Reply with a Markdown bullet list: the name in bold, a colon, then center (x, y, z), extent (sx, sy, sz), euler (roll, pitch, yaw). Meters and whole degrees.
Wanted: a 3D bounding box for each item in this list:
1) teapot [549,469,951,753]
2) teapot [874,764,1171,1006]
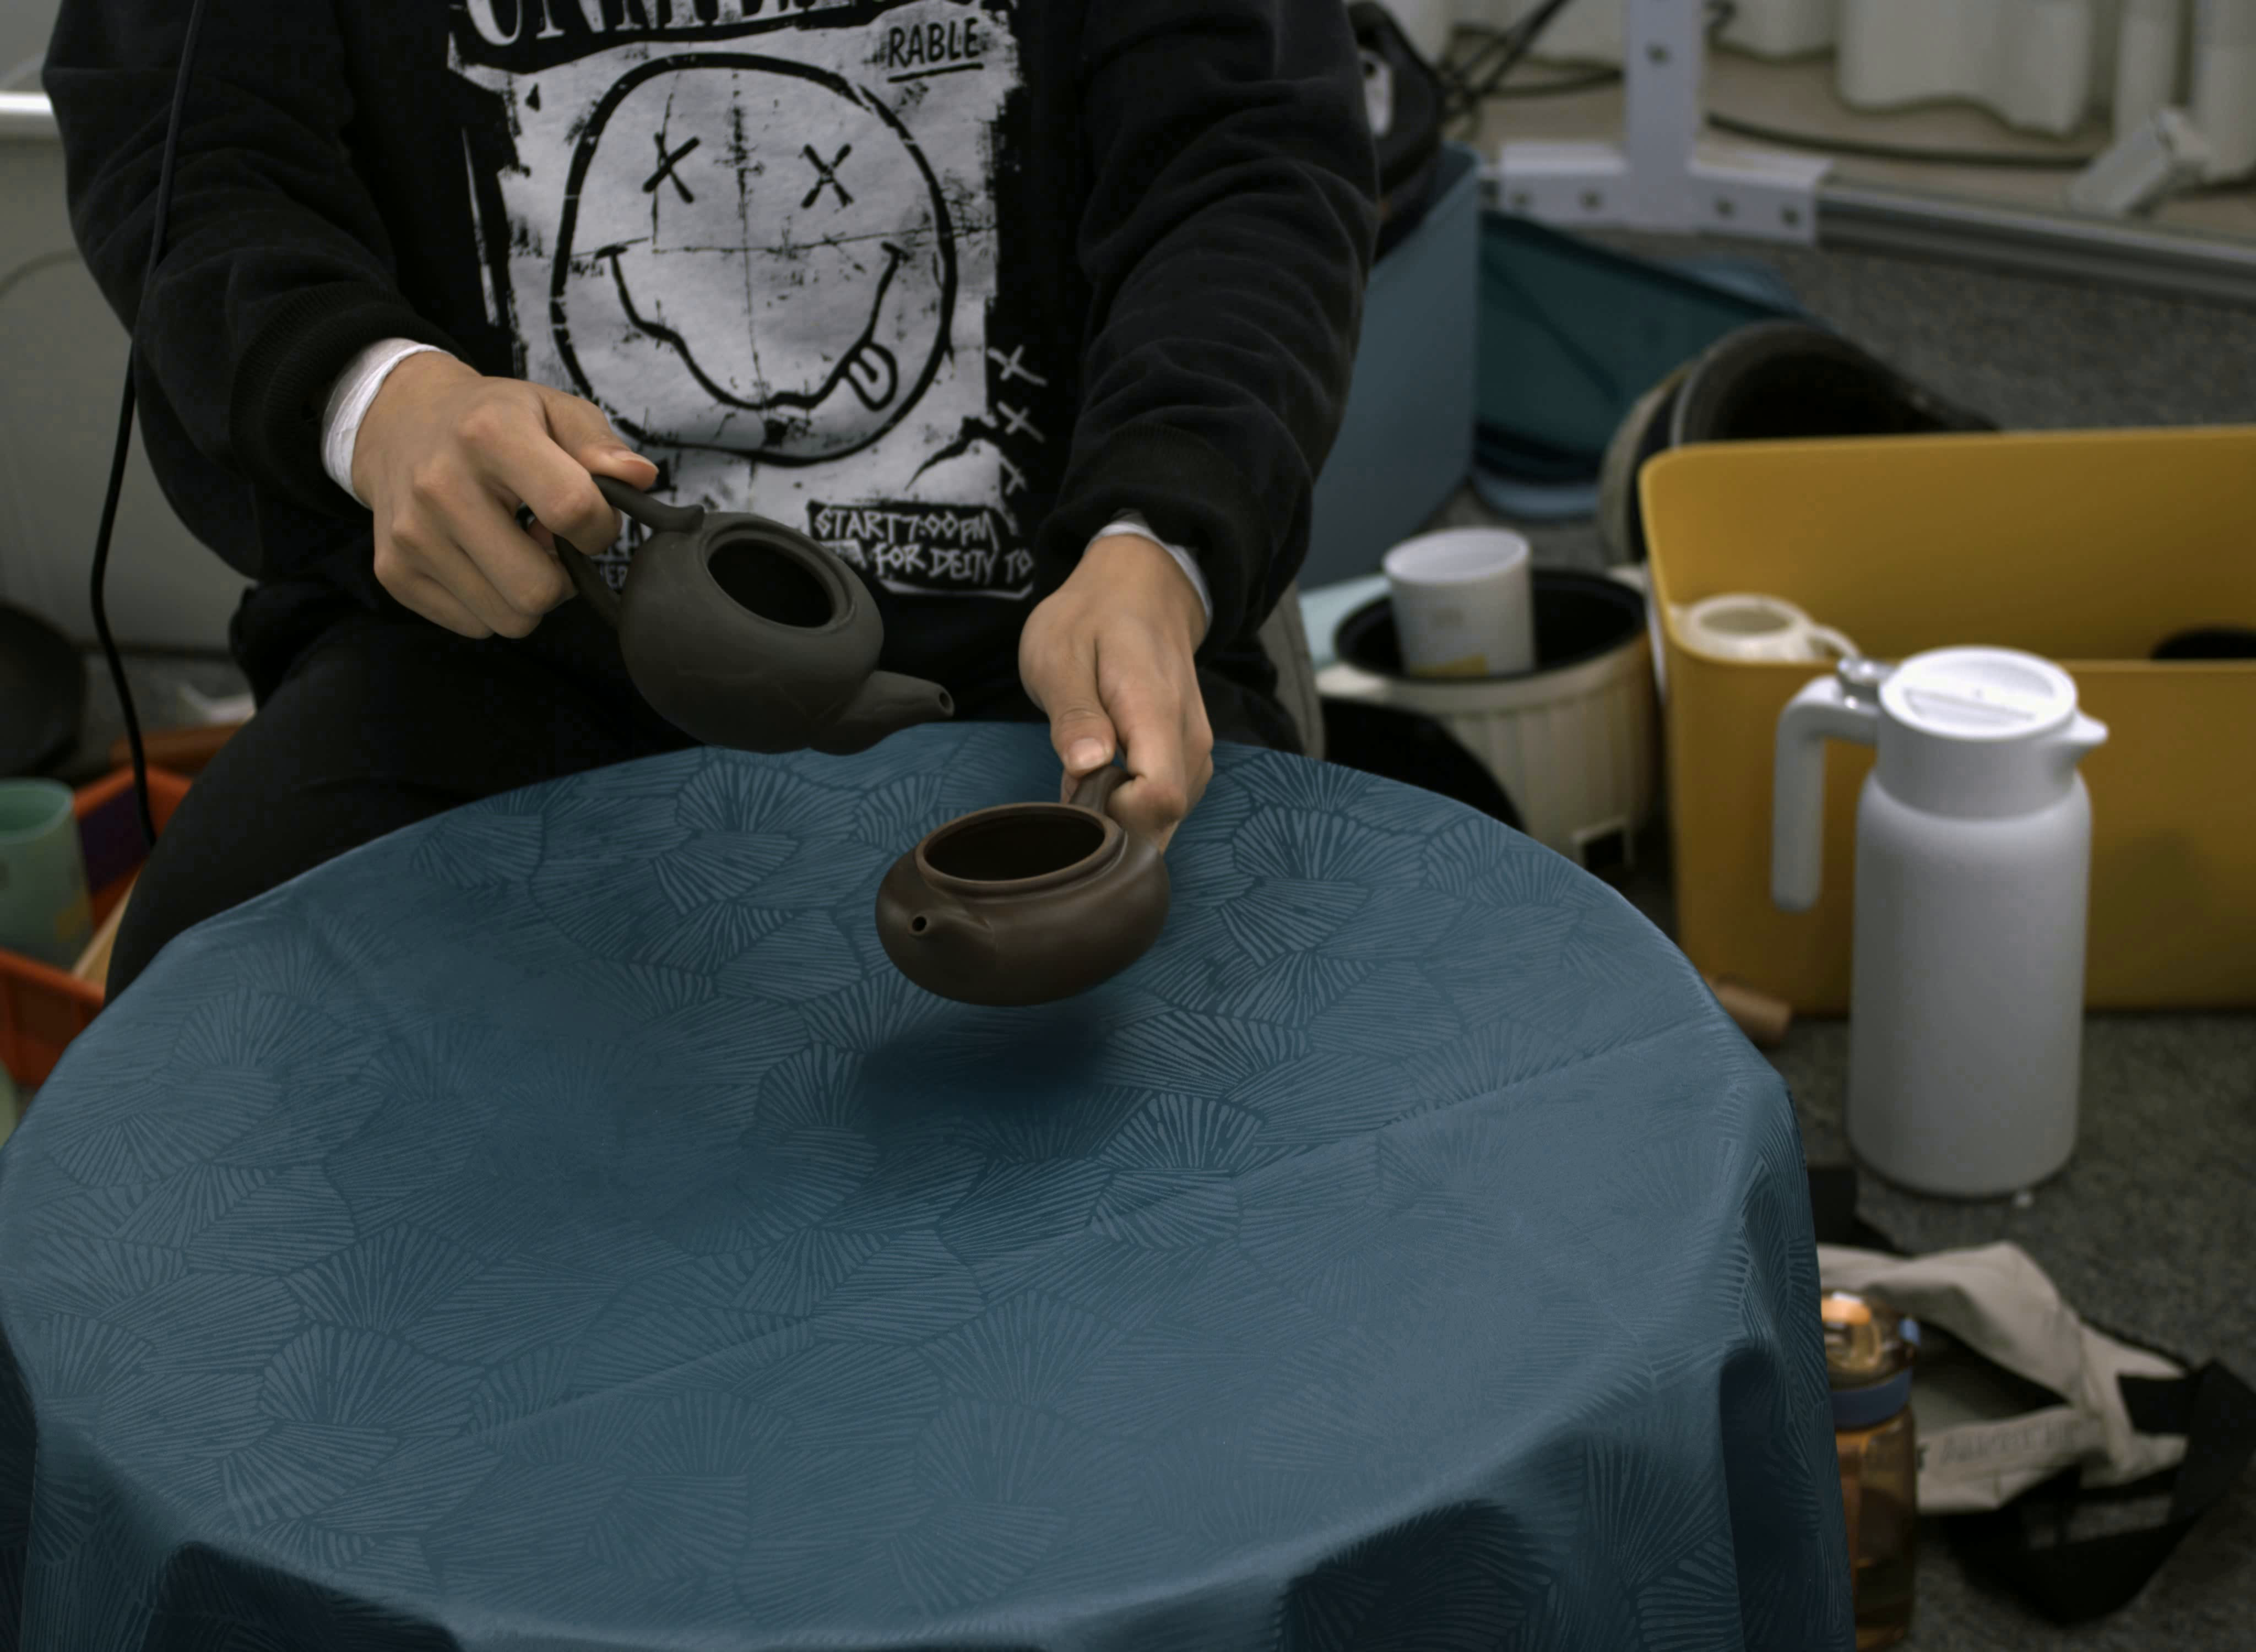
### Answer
- **teapot**: center (-0.131, -0.067, 1.892), extent (0.154, 0.063, 0.094), euler (33, 30, 7)
- **teapot**: center (-0.035, 0.023, 1.928), extent (0.102, 0.053, 0.156), euler (5, 25, 21)
